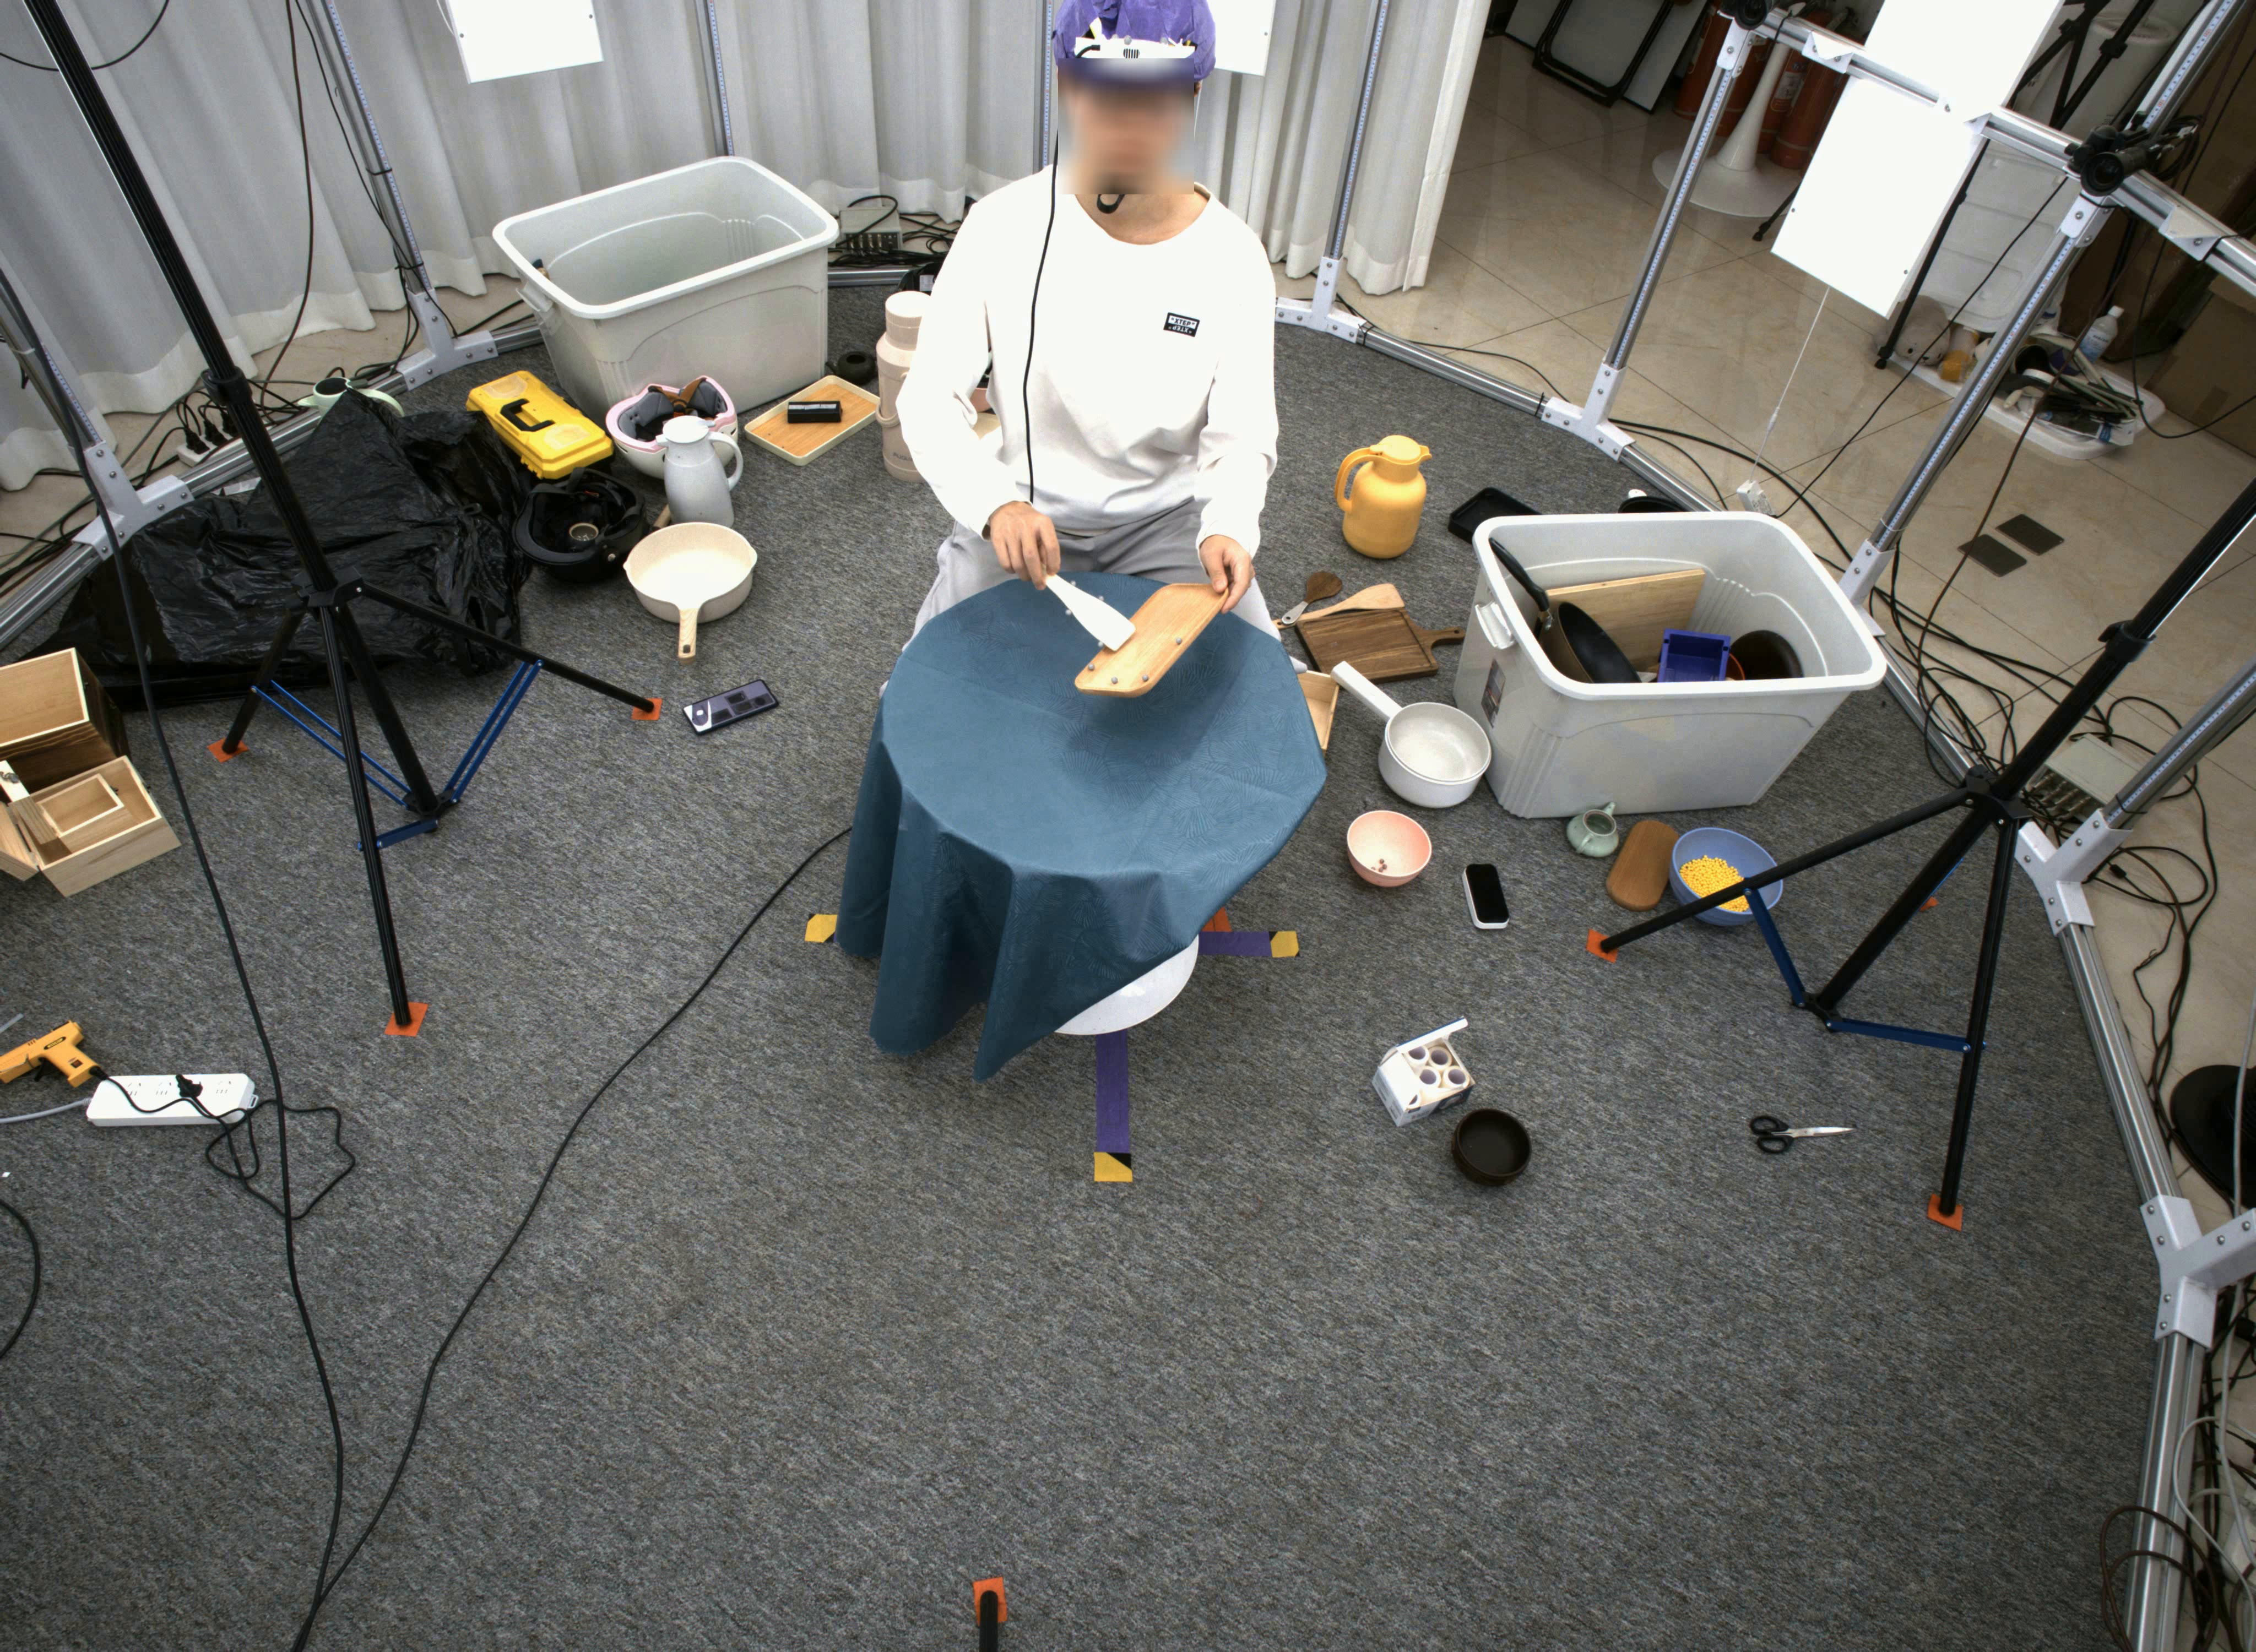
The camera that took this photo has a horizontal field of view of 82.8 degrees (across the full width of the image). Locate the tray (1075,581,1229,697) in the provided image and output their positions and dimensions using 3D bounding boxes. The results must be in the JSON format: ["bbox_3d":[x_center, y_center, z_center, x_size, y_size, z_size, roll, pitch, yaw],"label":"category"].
[{"bbox_3d":[0.036,-0.257,1.750,0.131,0.022,0.254,11,47,37],"label":"tray"}]

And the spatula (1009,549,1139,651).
[{"bbox_3d":[-0.079,-0.317,1.773,0.209,0.005,0.051,38,67,8],"label":"spatula"}]
